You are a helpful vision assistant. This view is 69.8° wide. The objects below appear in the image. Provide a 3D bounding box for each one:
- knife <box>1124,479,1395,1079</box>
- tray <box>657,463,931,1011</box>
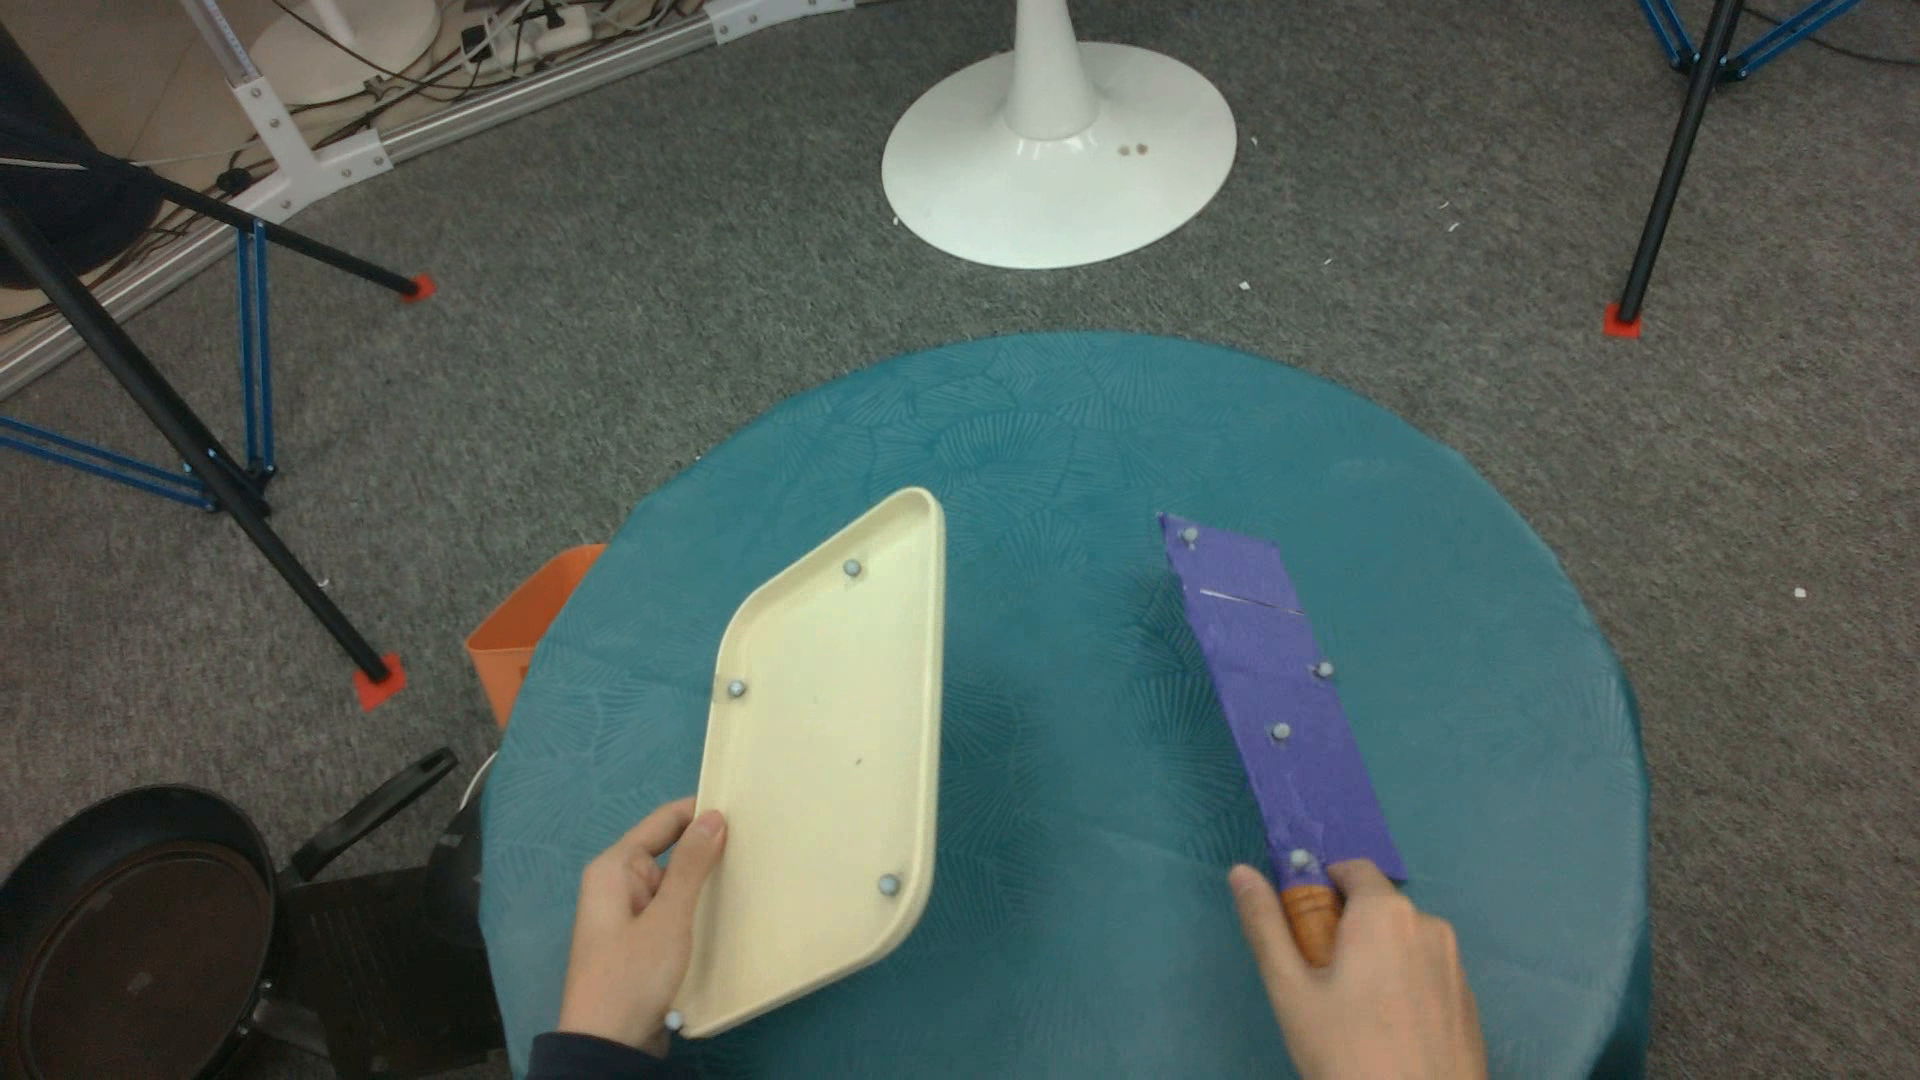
[{"bbox_3d":[0.160,0.095,0.662,0.104,0.032,0.316,11,48,-28],"label":"knife"},{"bbox_3d":[-0.073,0.085,0.637,0.170,0.017,0.241,-32,41,32],"label":"tray"}]
